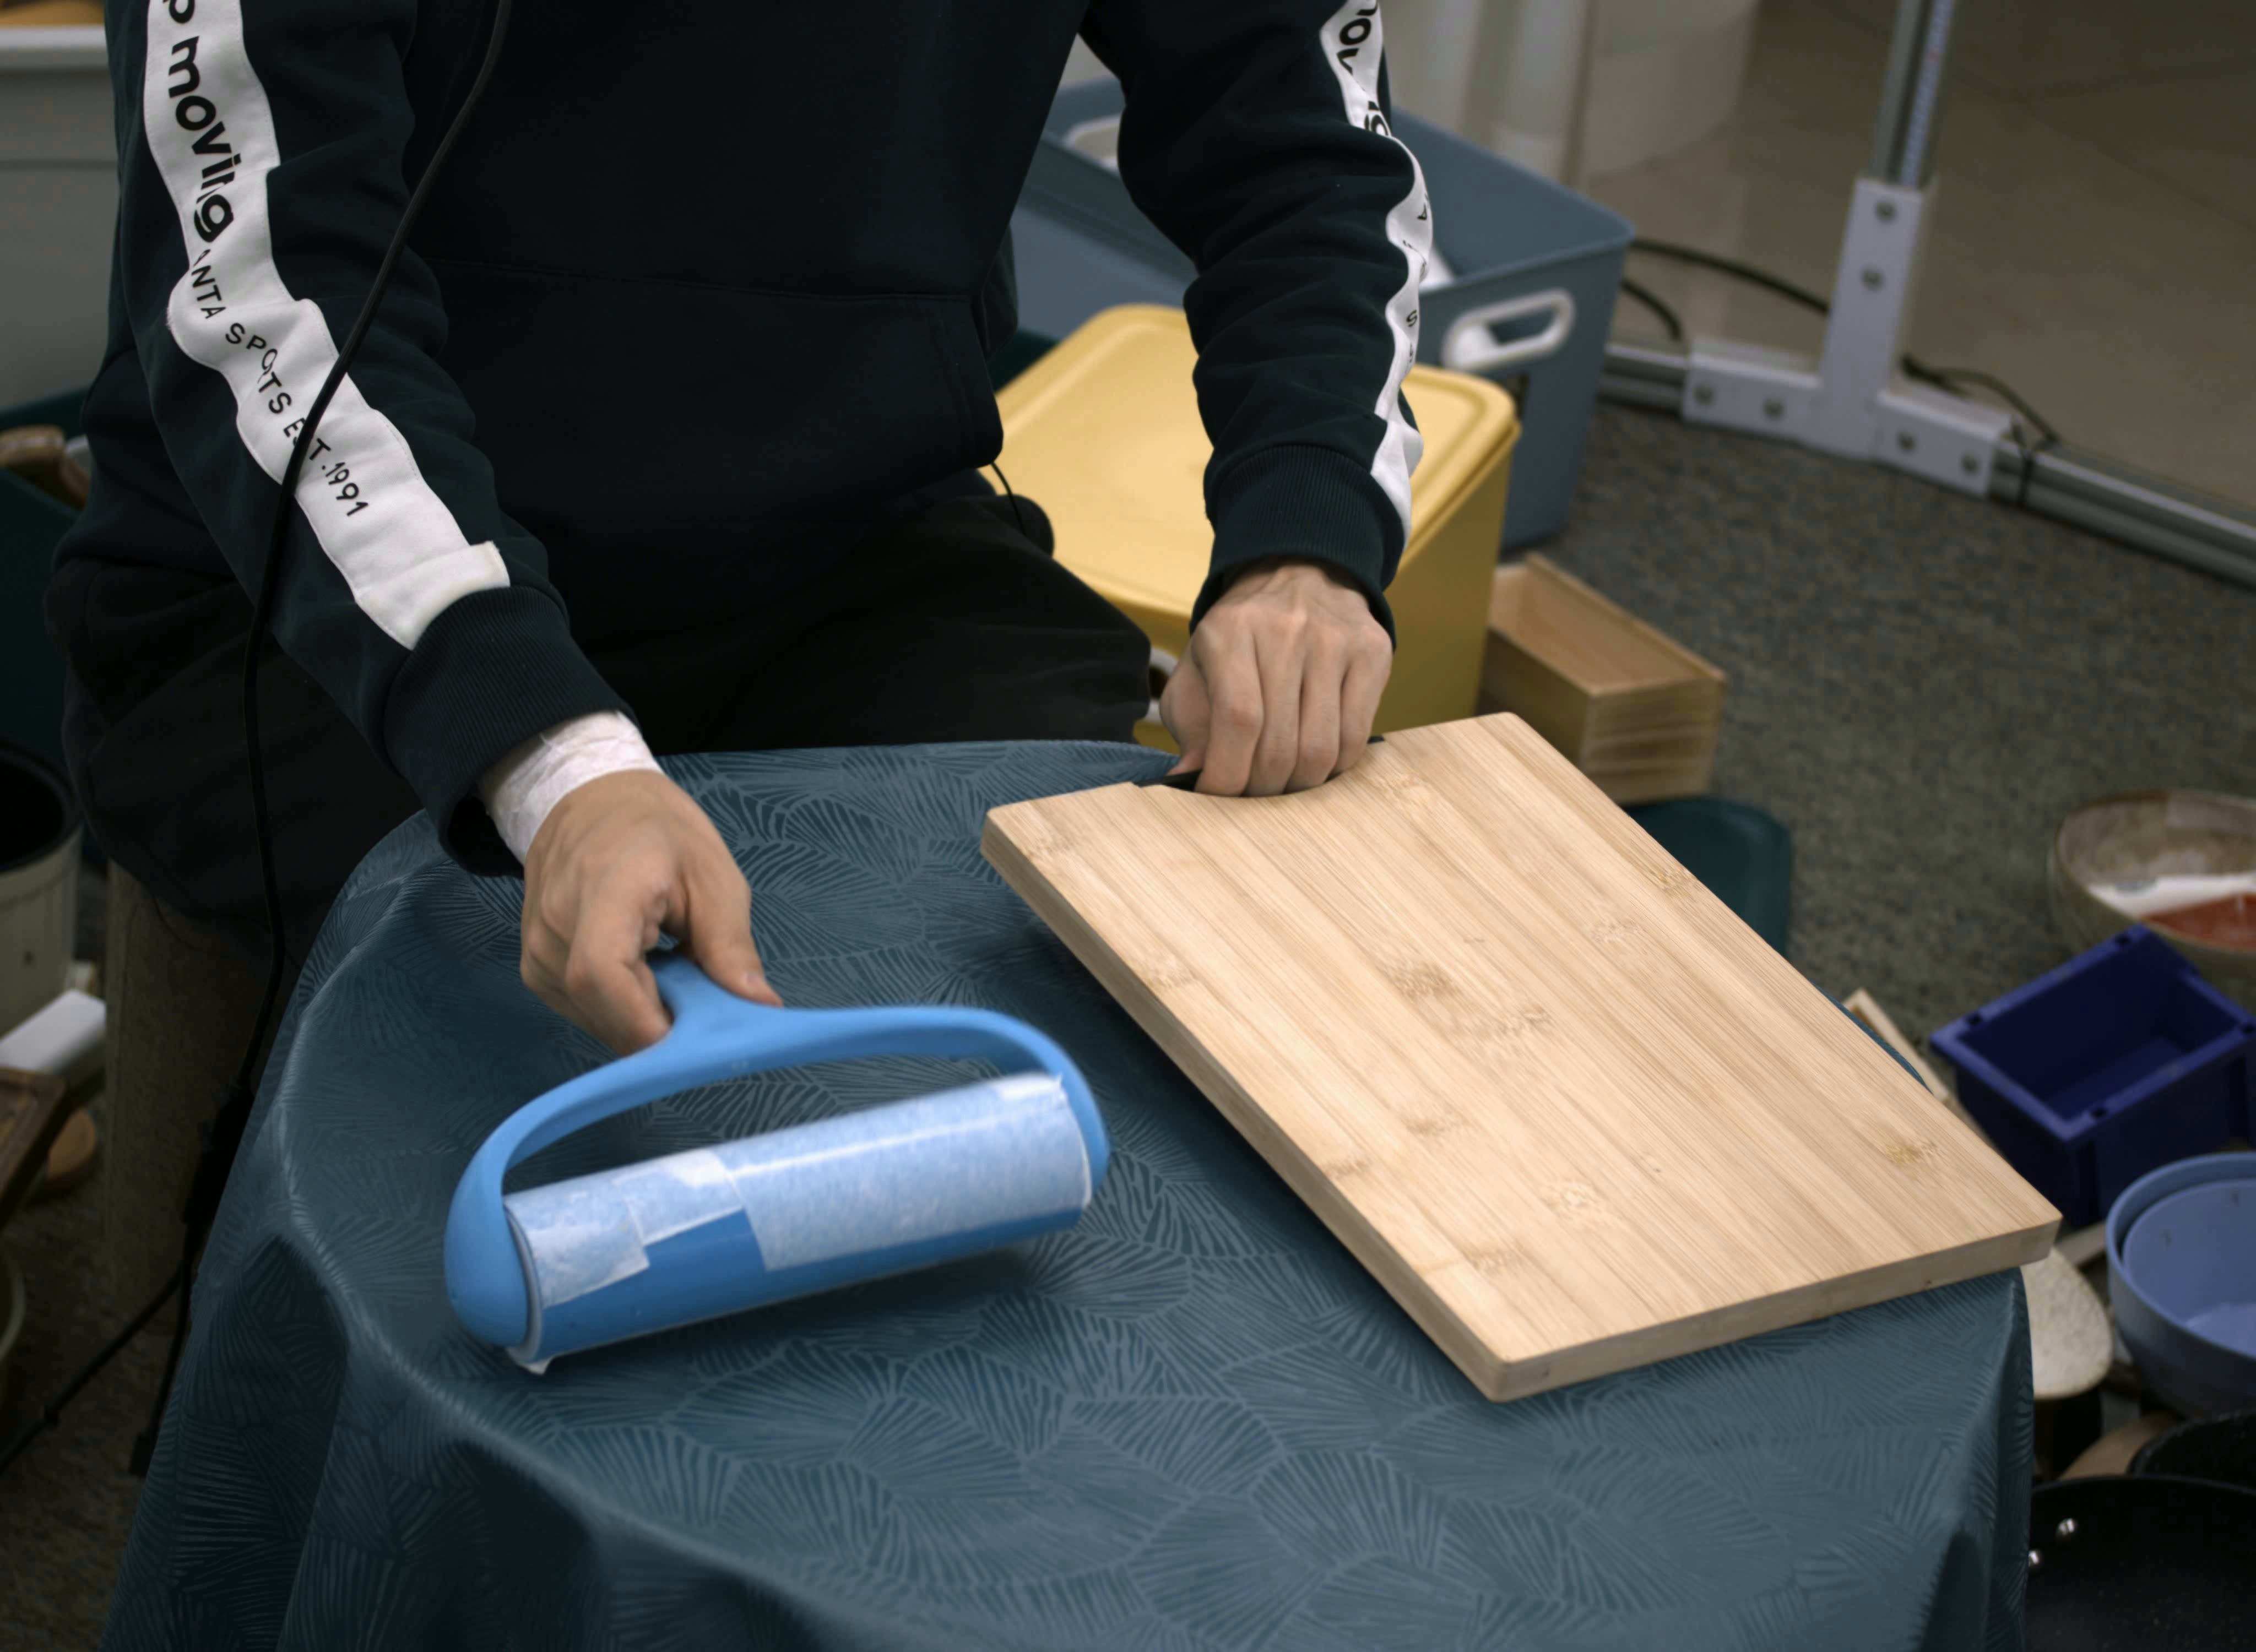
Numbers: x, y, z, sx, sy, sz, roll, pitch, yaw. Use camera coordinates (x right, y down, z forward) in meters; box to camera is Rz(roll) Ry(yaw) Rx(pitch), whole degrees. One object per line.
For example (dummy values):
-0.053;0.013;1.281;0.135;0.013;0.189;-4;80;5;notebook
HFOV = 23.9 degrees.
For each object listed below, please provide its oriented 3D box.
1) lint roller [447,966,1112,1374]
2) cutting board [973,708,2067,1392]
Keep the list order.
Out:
-0.137;0.090;1.735;0.227;0.067;0.182;-15;45;-26;lint roller
0.131;0.071;1.879;0.249;0.023;0.352;-11;37;-31;cutting board
